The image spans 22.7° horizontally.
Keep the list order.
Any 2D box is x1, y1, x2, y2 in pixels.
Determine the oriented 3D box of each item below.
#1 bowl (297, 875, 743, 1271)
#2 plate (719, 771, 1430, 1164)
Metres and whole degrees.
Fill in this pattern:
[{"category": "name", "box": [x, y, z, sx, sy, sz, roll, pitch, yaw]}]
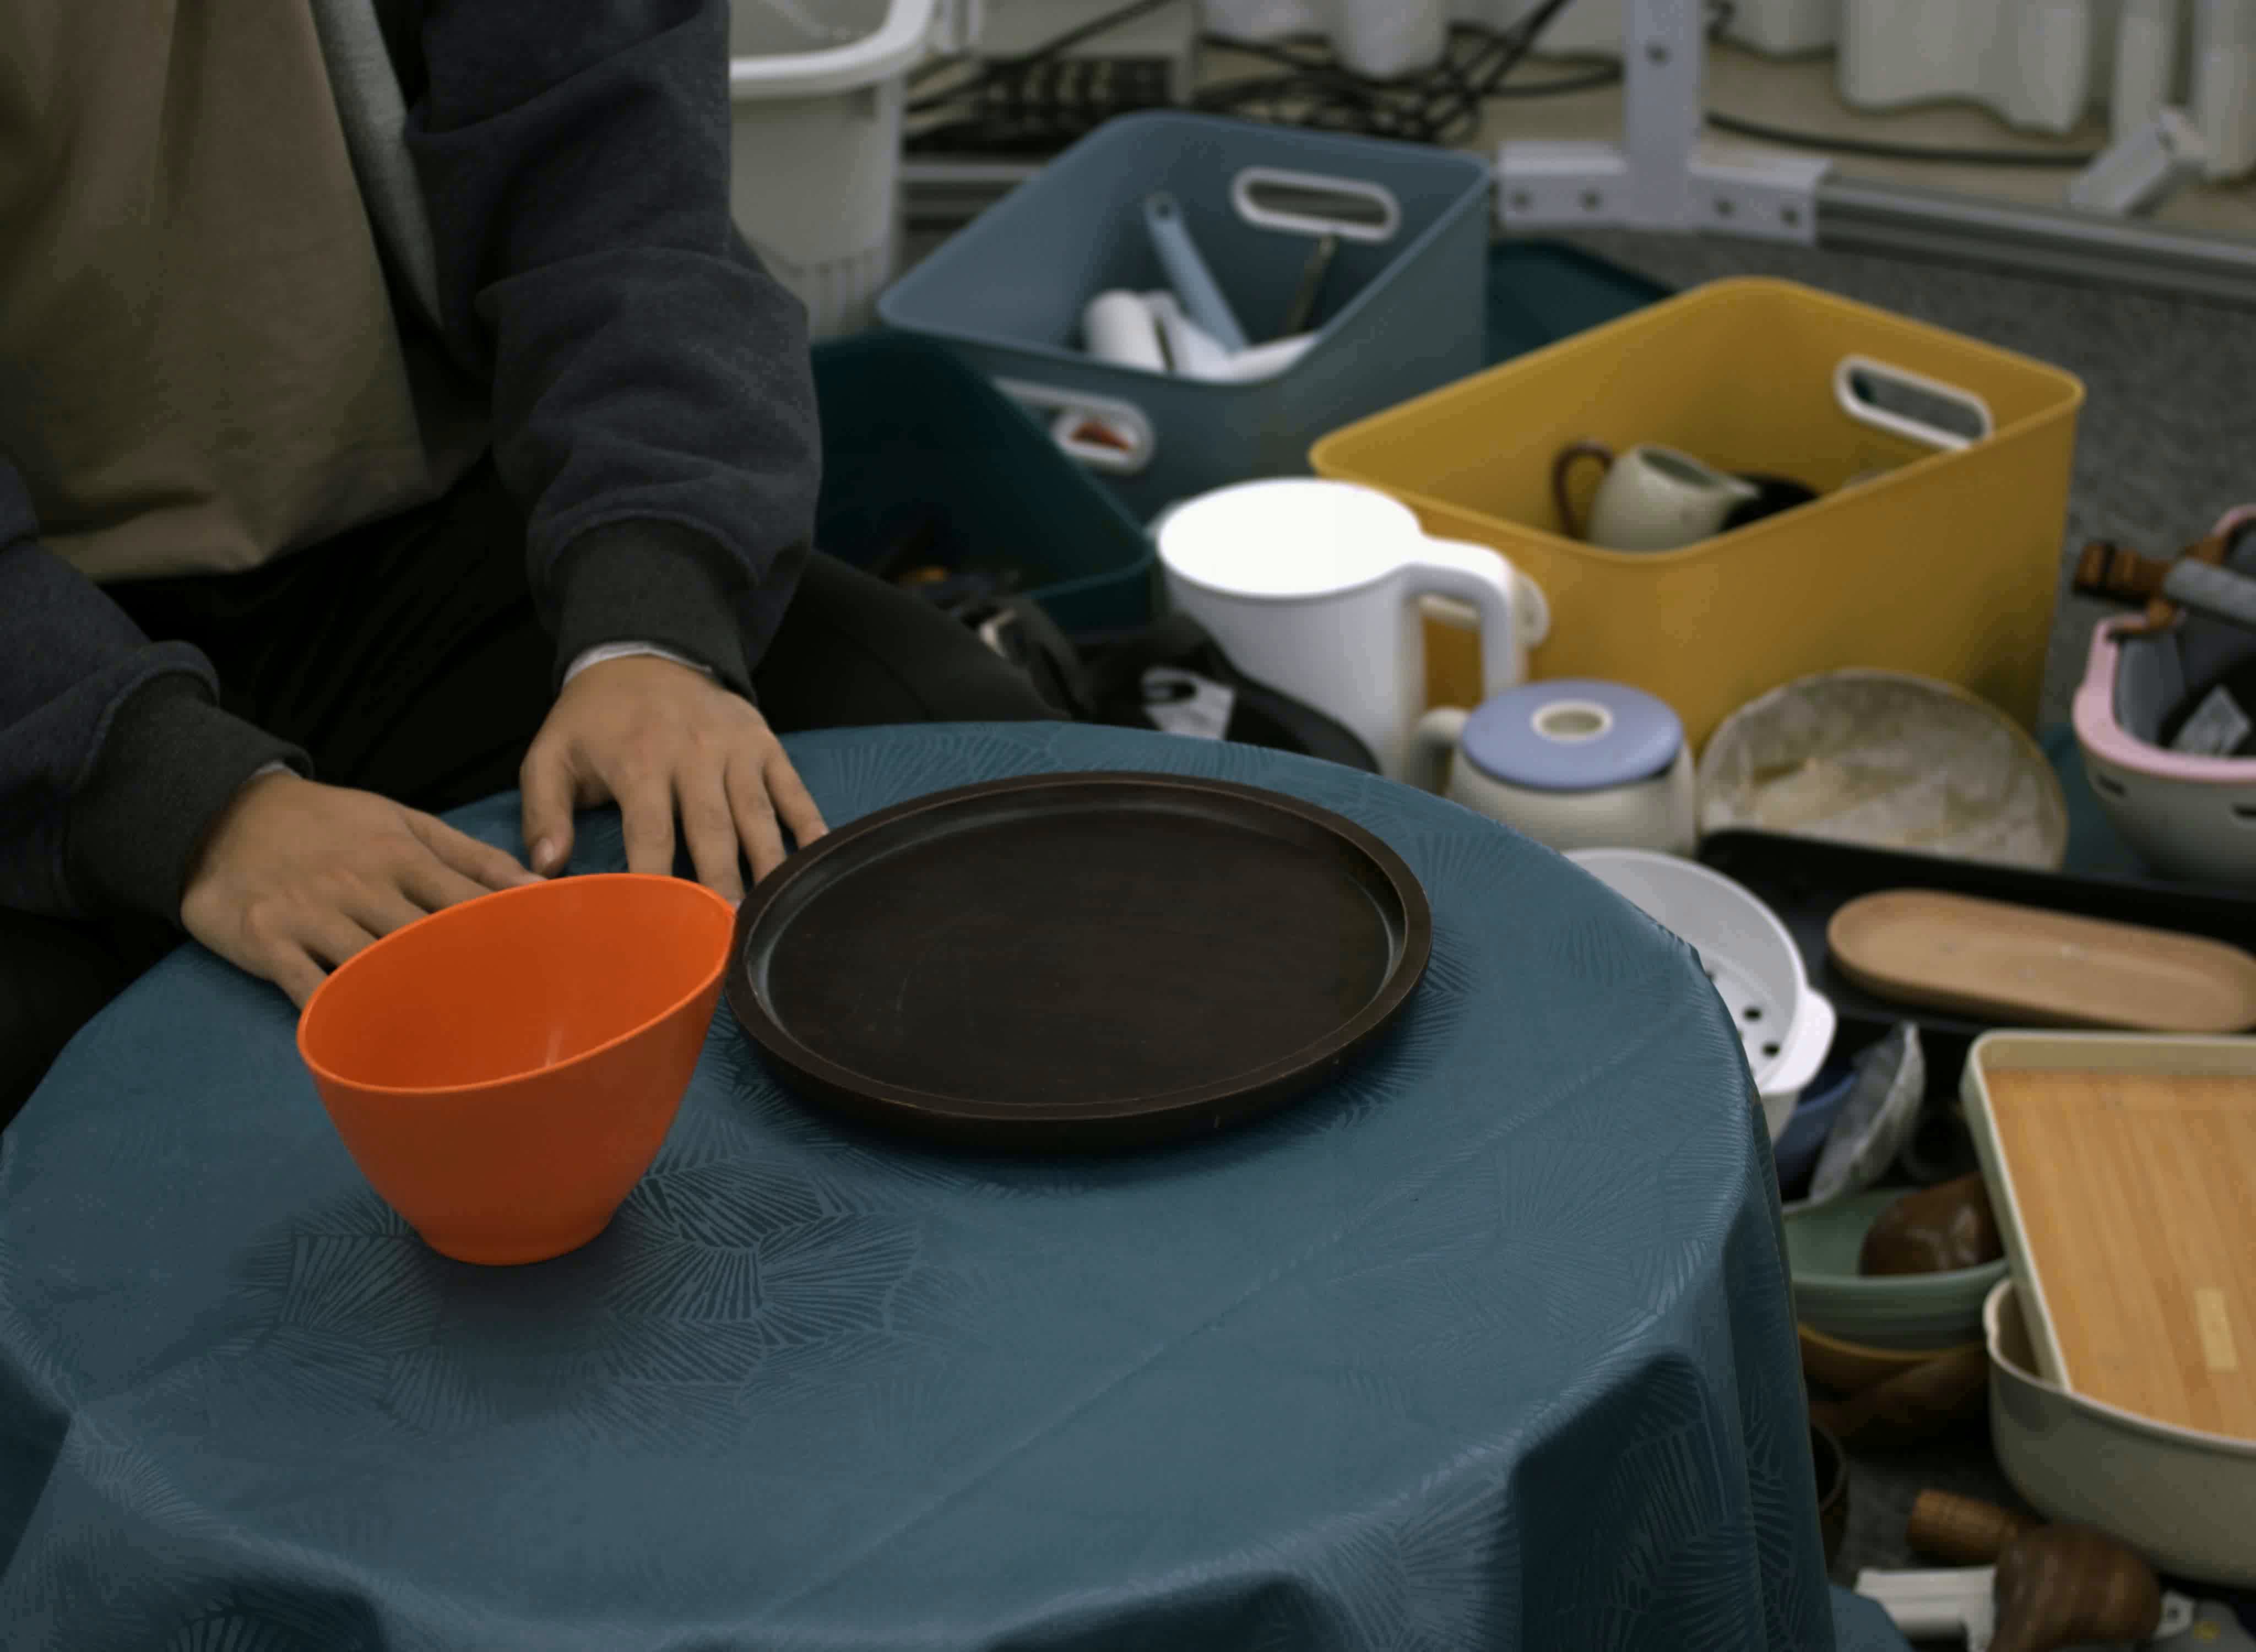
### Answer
[{"category": "bowl", "box": [-0.195, 0.087, 1.840, 0.147, 0.103, 0.150, -3, 28, 2]}, {"category": "plate", "box": [-0.019, 0.048, 1.982, 0.253, 0.029, 0.259, -3, 28, 2]}]
